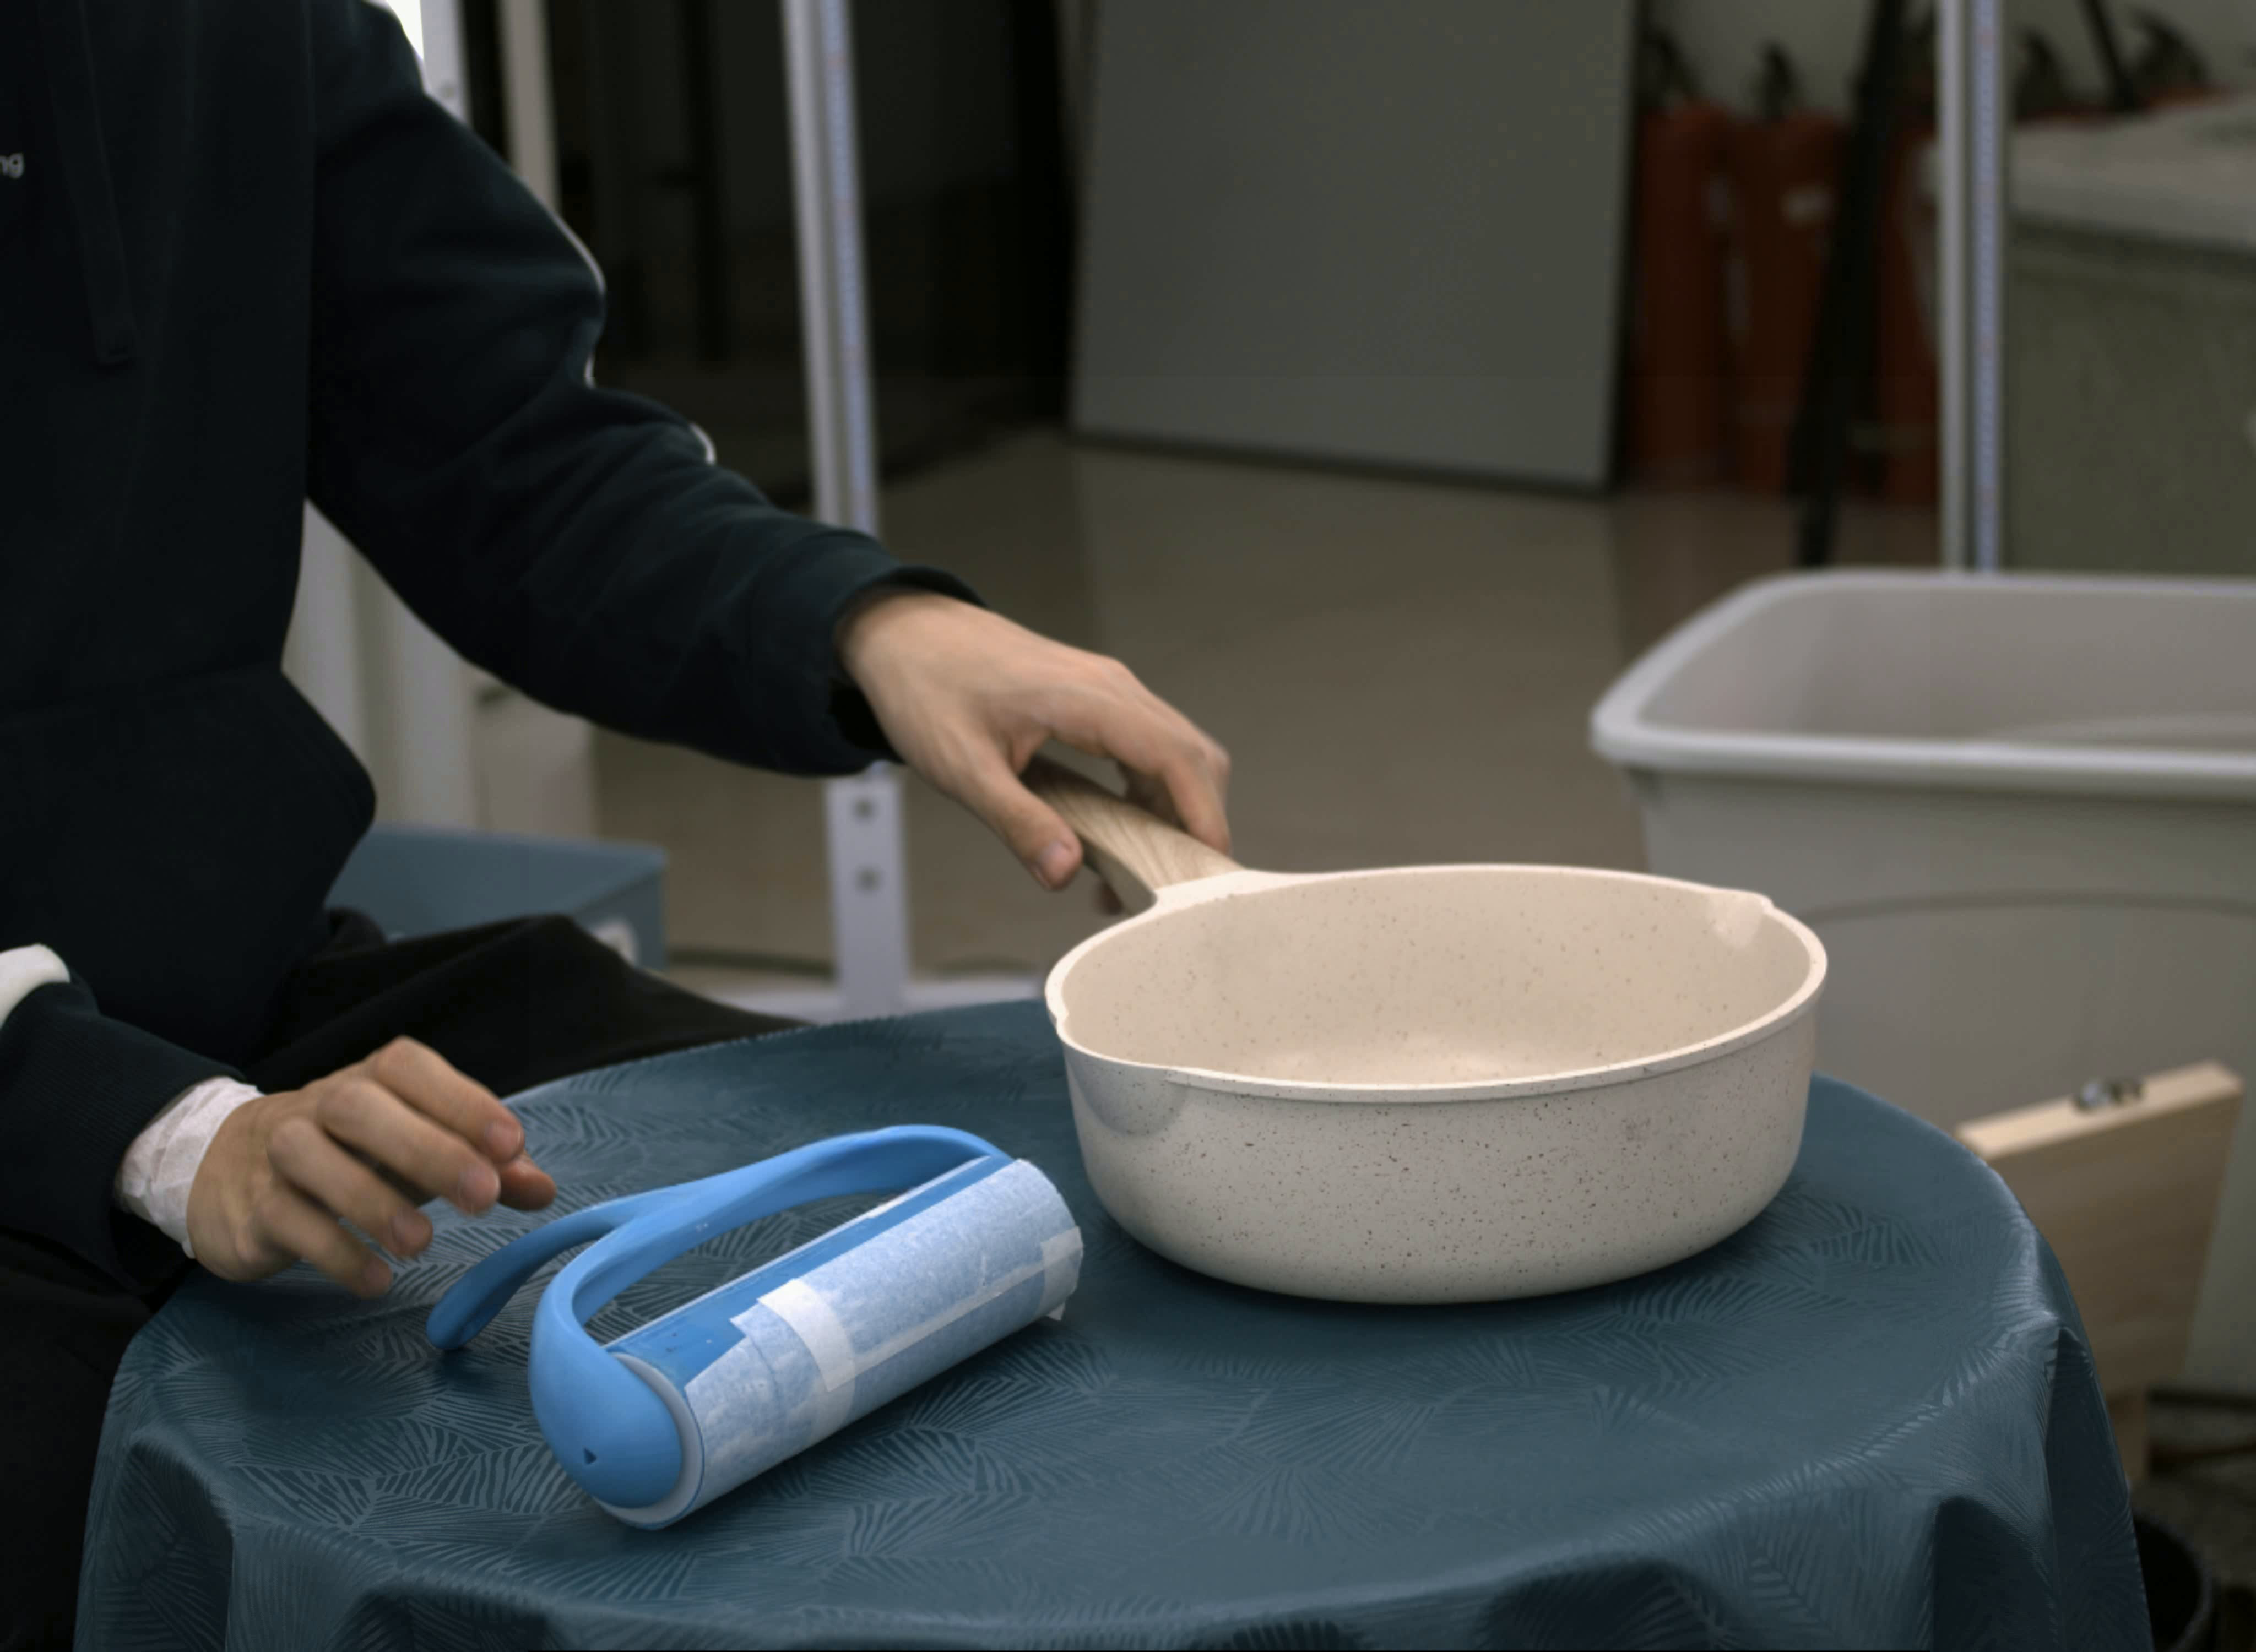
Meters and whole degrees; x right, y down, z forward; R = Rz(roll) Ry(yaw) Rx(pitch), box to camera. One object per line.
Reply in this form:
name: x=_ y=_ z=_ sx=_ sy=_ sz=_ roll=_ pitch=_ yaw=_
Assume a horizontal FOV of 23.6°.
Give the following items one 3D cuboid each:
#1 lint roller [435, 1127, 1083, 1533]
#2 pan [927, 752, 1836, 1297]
lint roller: x=-0.136 y=0.142 z=1.606 sx=0.181 sy=0.068 sz=0.225 roll=6 pitch=18 yaw=30
pan: x=0.055 y=0.058 z=1.799 sx=0.258 sy=0.103 sz=0.439 roll=-13 pitch=16 yaw=-29
